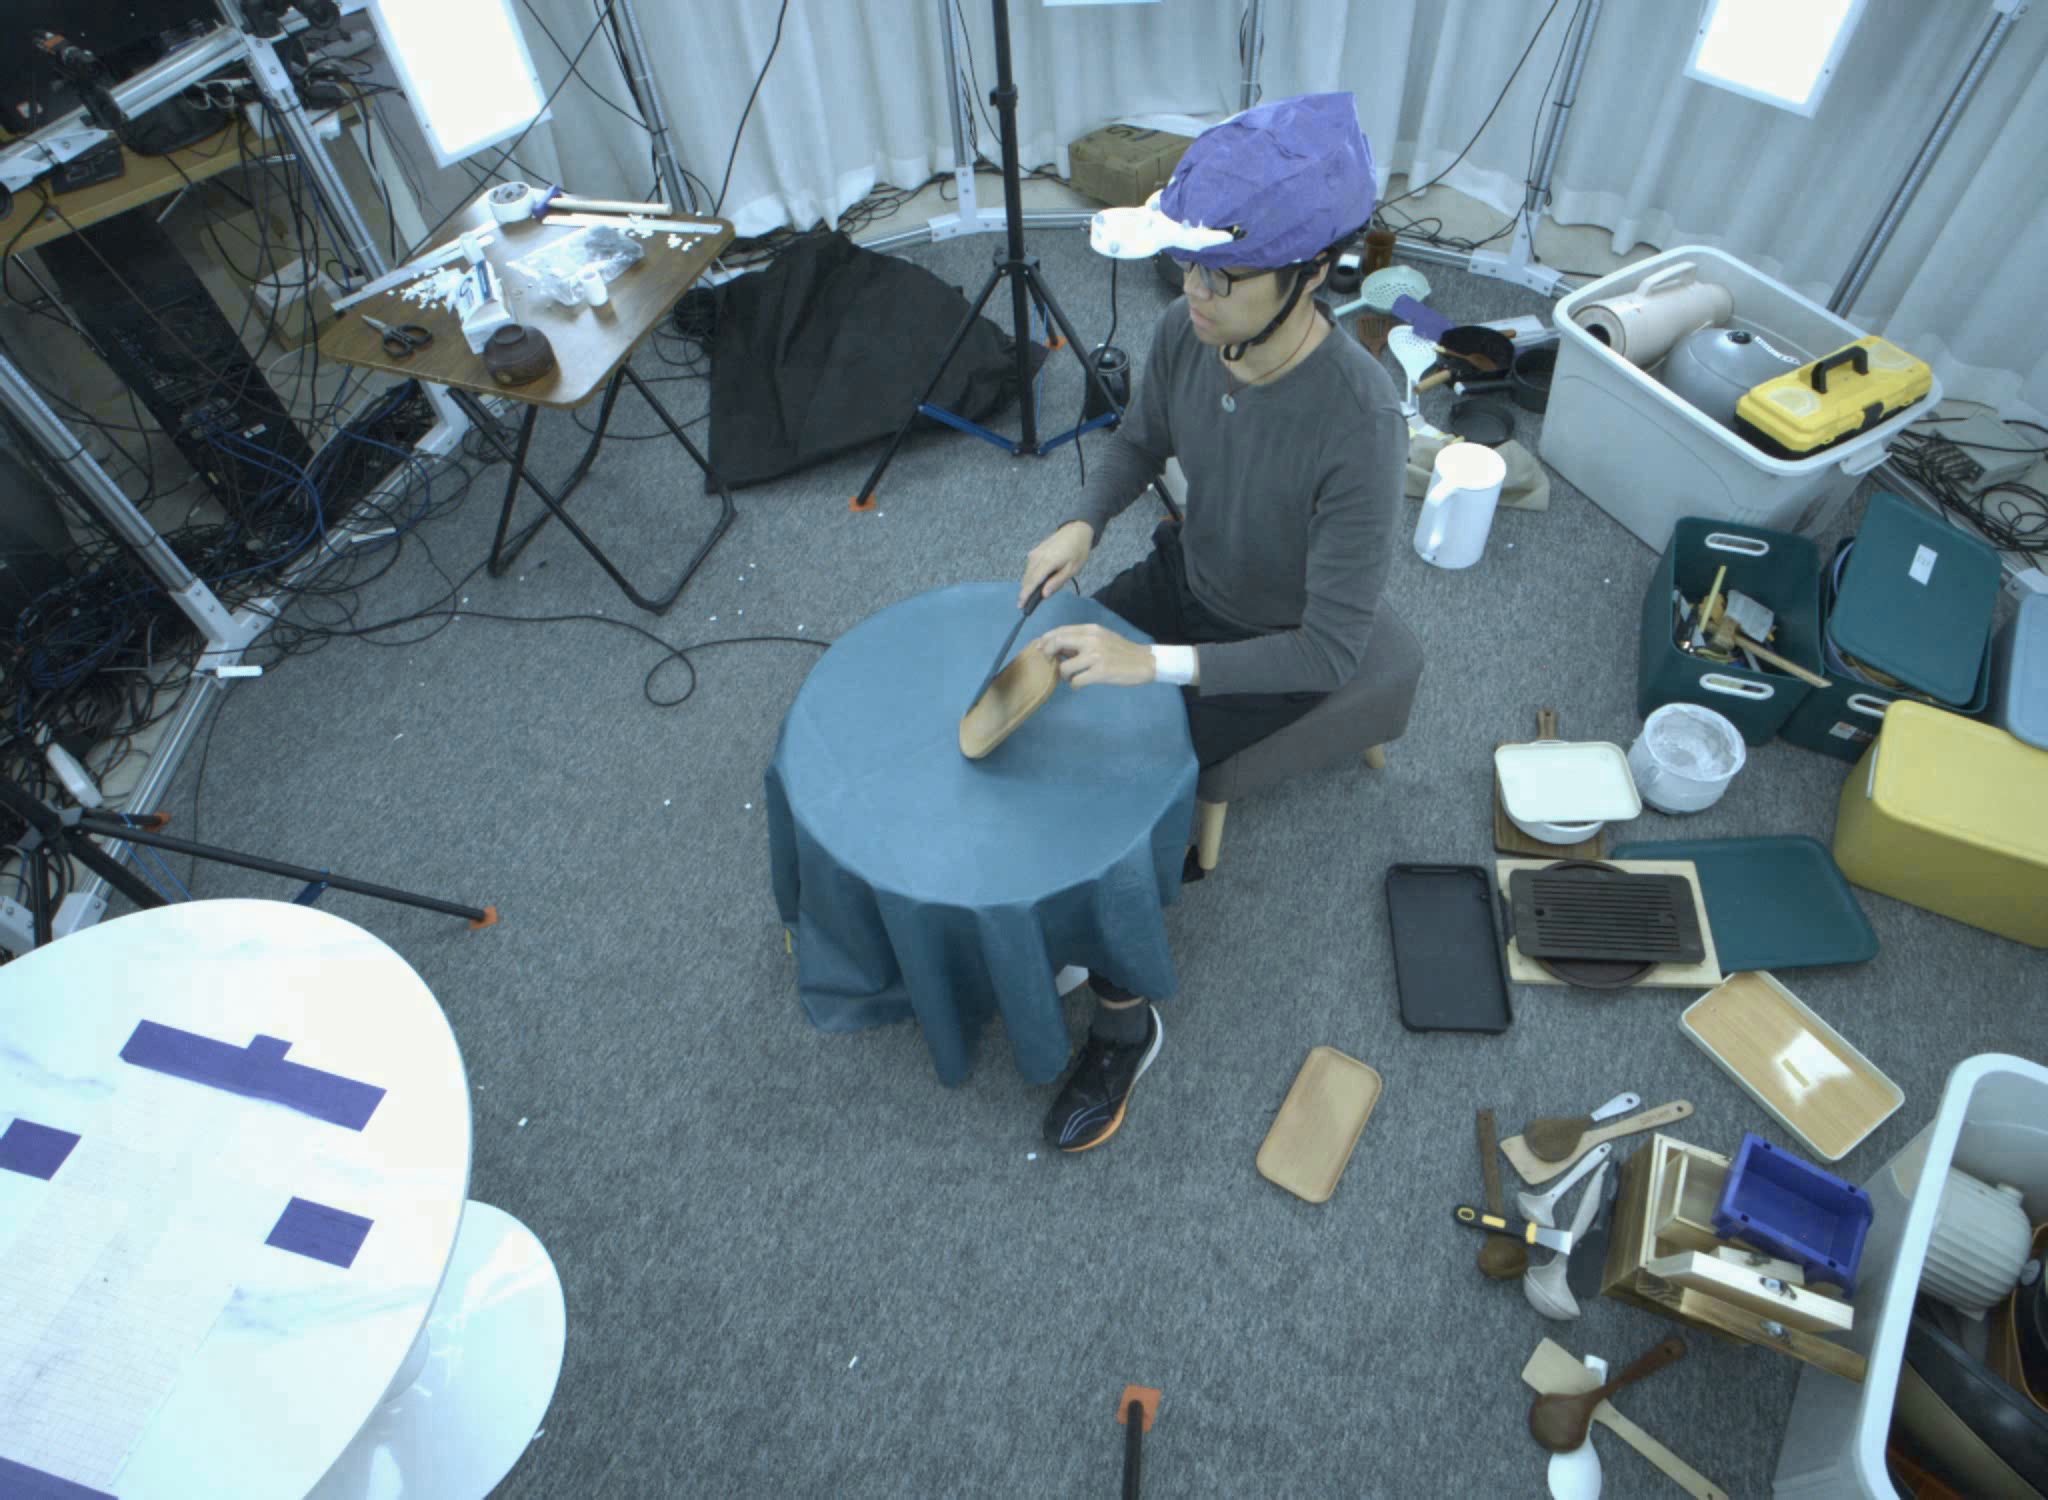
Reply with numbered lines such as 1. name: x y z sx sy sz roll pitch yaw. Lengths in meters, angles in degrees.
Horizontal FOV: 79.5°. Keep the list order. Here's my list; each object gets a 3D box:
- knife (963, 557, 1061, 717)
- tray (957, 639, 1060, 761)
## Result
1. knife: -0.016 -0.169 1.779 0.021 0.080 0.302 34 61 -12
2. tray: -0.024 -0.068 1.735 0.021 0.229 0.100 17 47 -33
